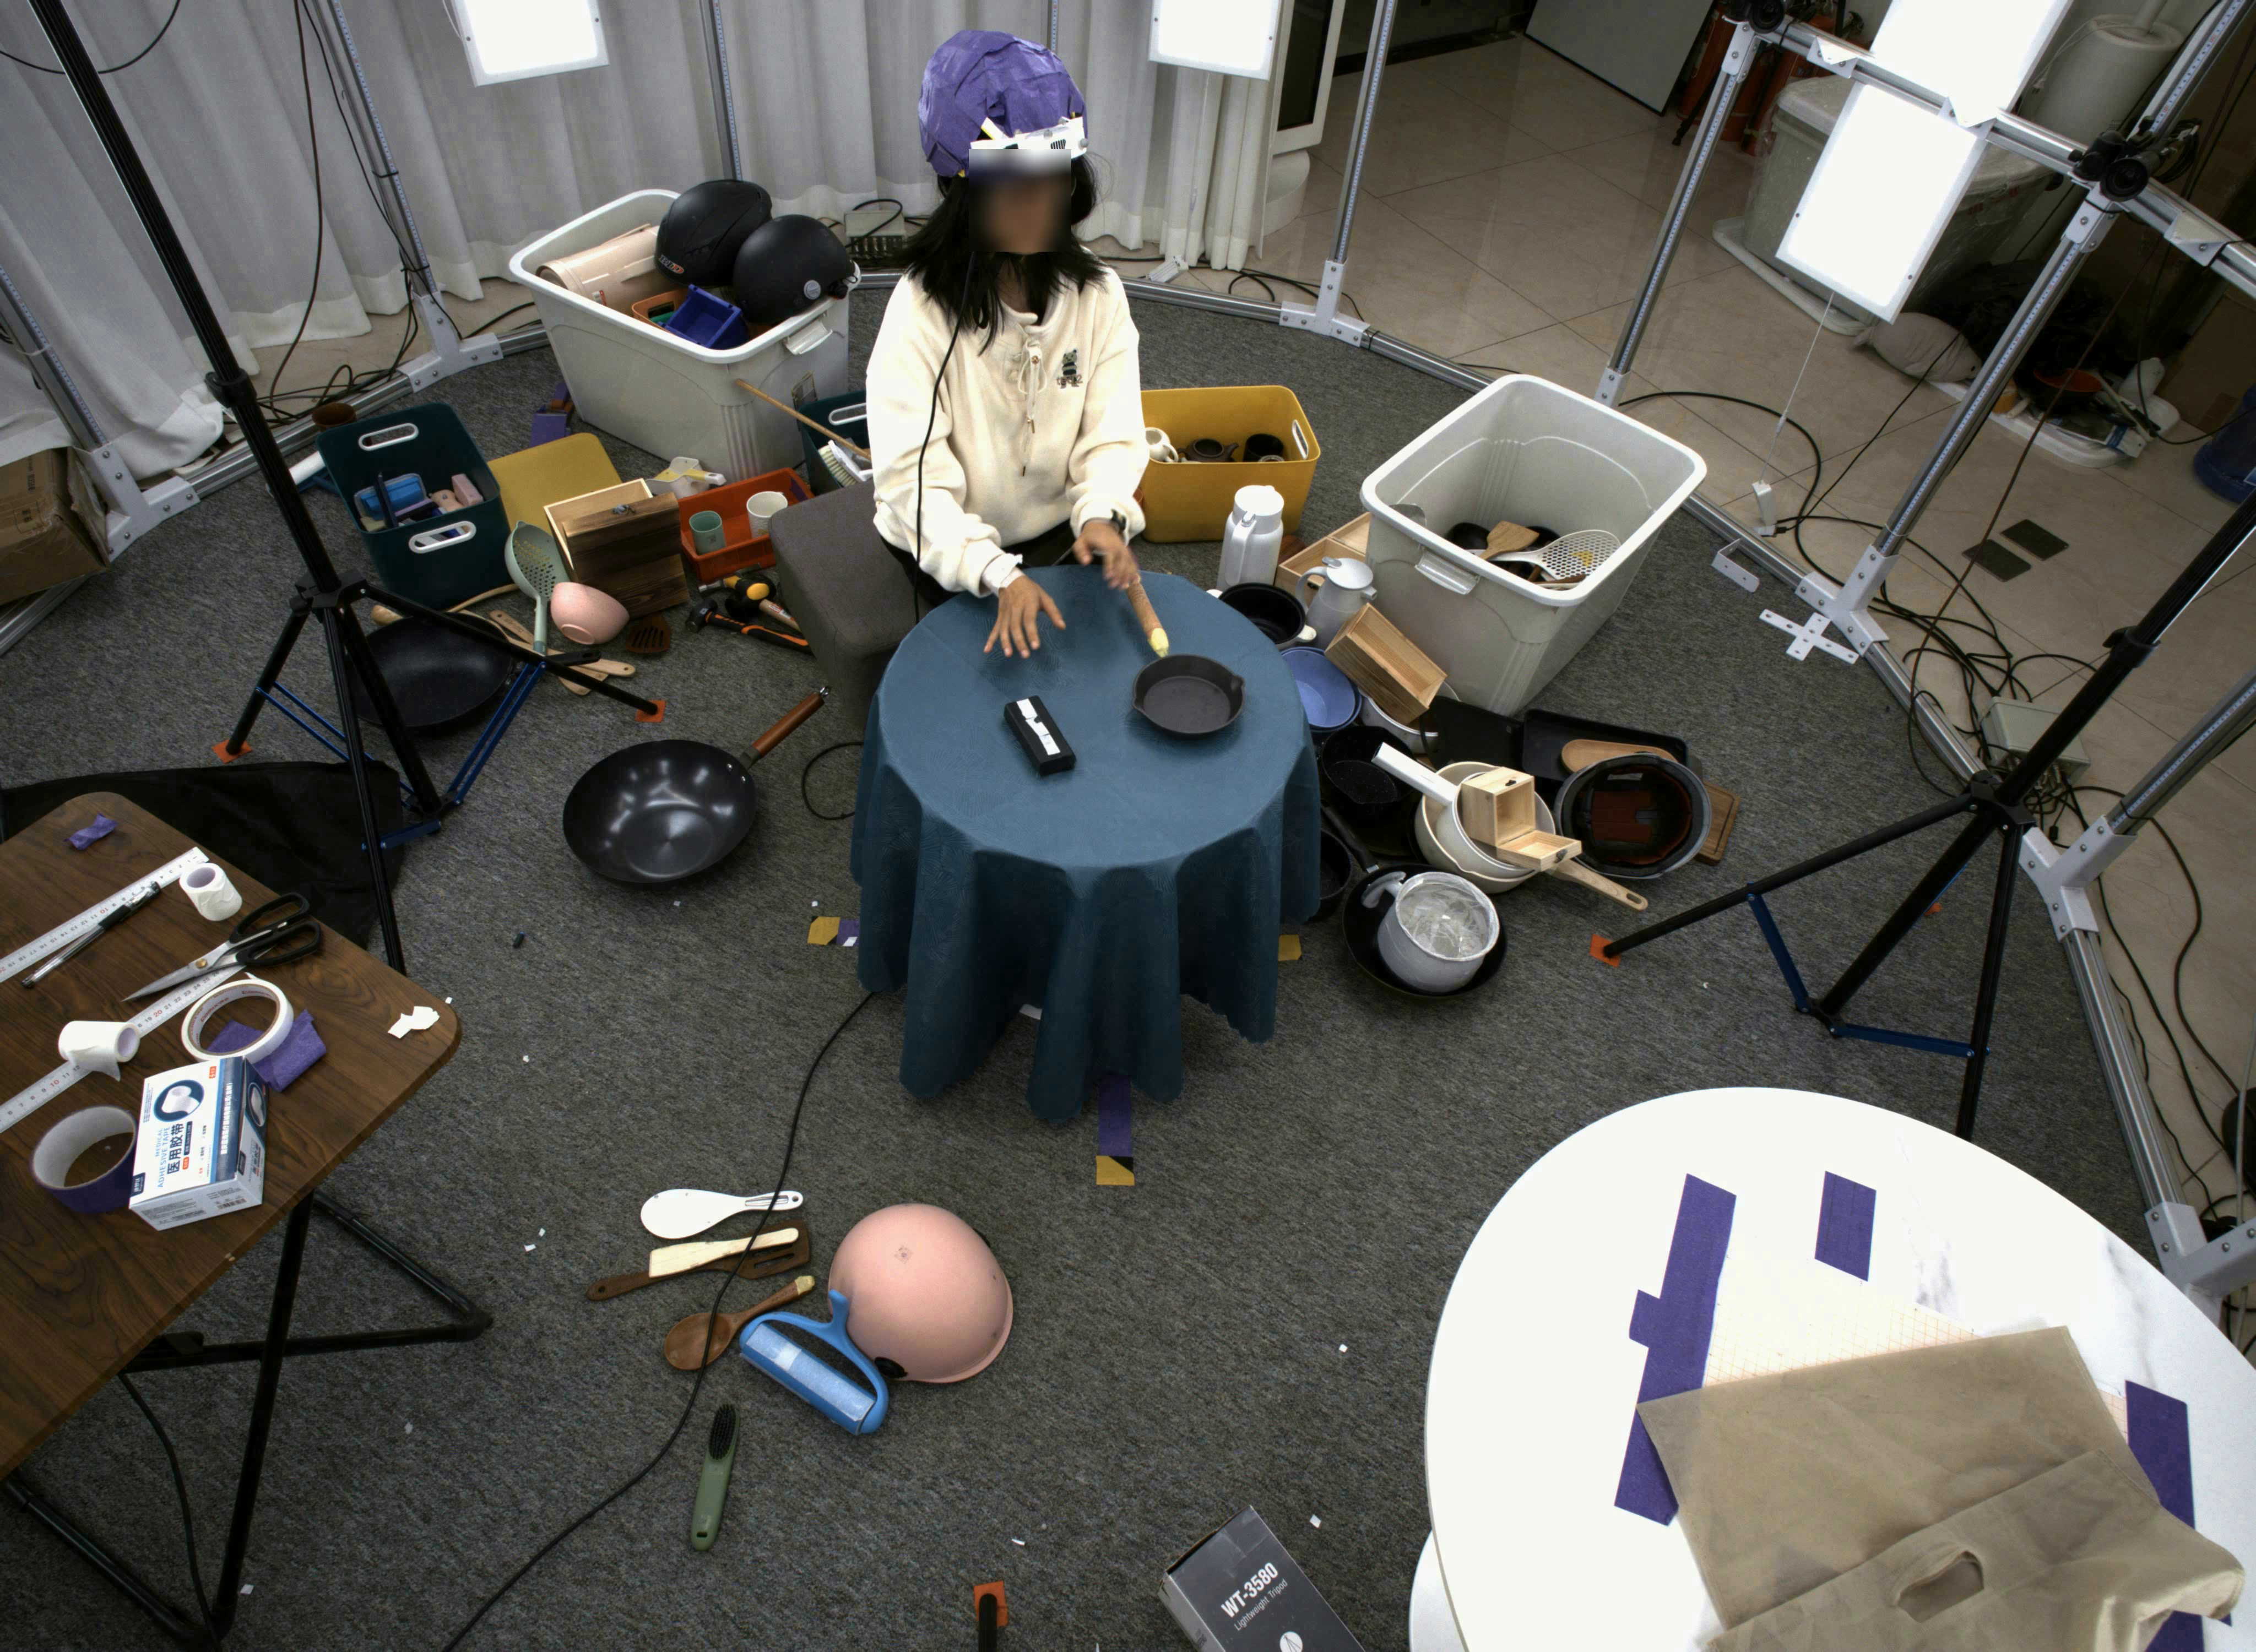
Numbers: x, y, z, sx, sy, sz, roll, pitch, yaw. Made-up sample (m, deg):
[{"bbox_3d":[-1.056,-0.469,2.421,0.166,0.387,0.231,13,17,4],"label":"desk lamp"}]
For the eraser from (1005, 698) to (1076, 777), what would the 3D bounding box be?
[{"bbox_3d":[-0.120,-0.122,1.751,0.053,0.030,0.128,-17,51,-19],"label":"eraser"}]

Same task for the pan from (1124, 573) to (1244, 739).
[{"bbox_3d":[0.057,-0.247,1.855,0.169,0.048,0.332,-13,52,-13],"label":"pan"}]
